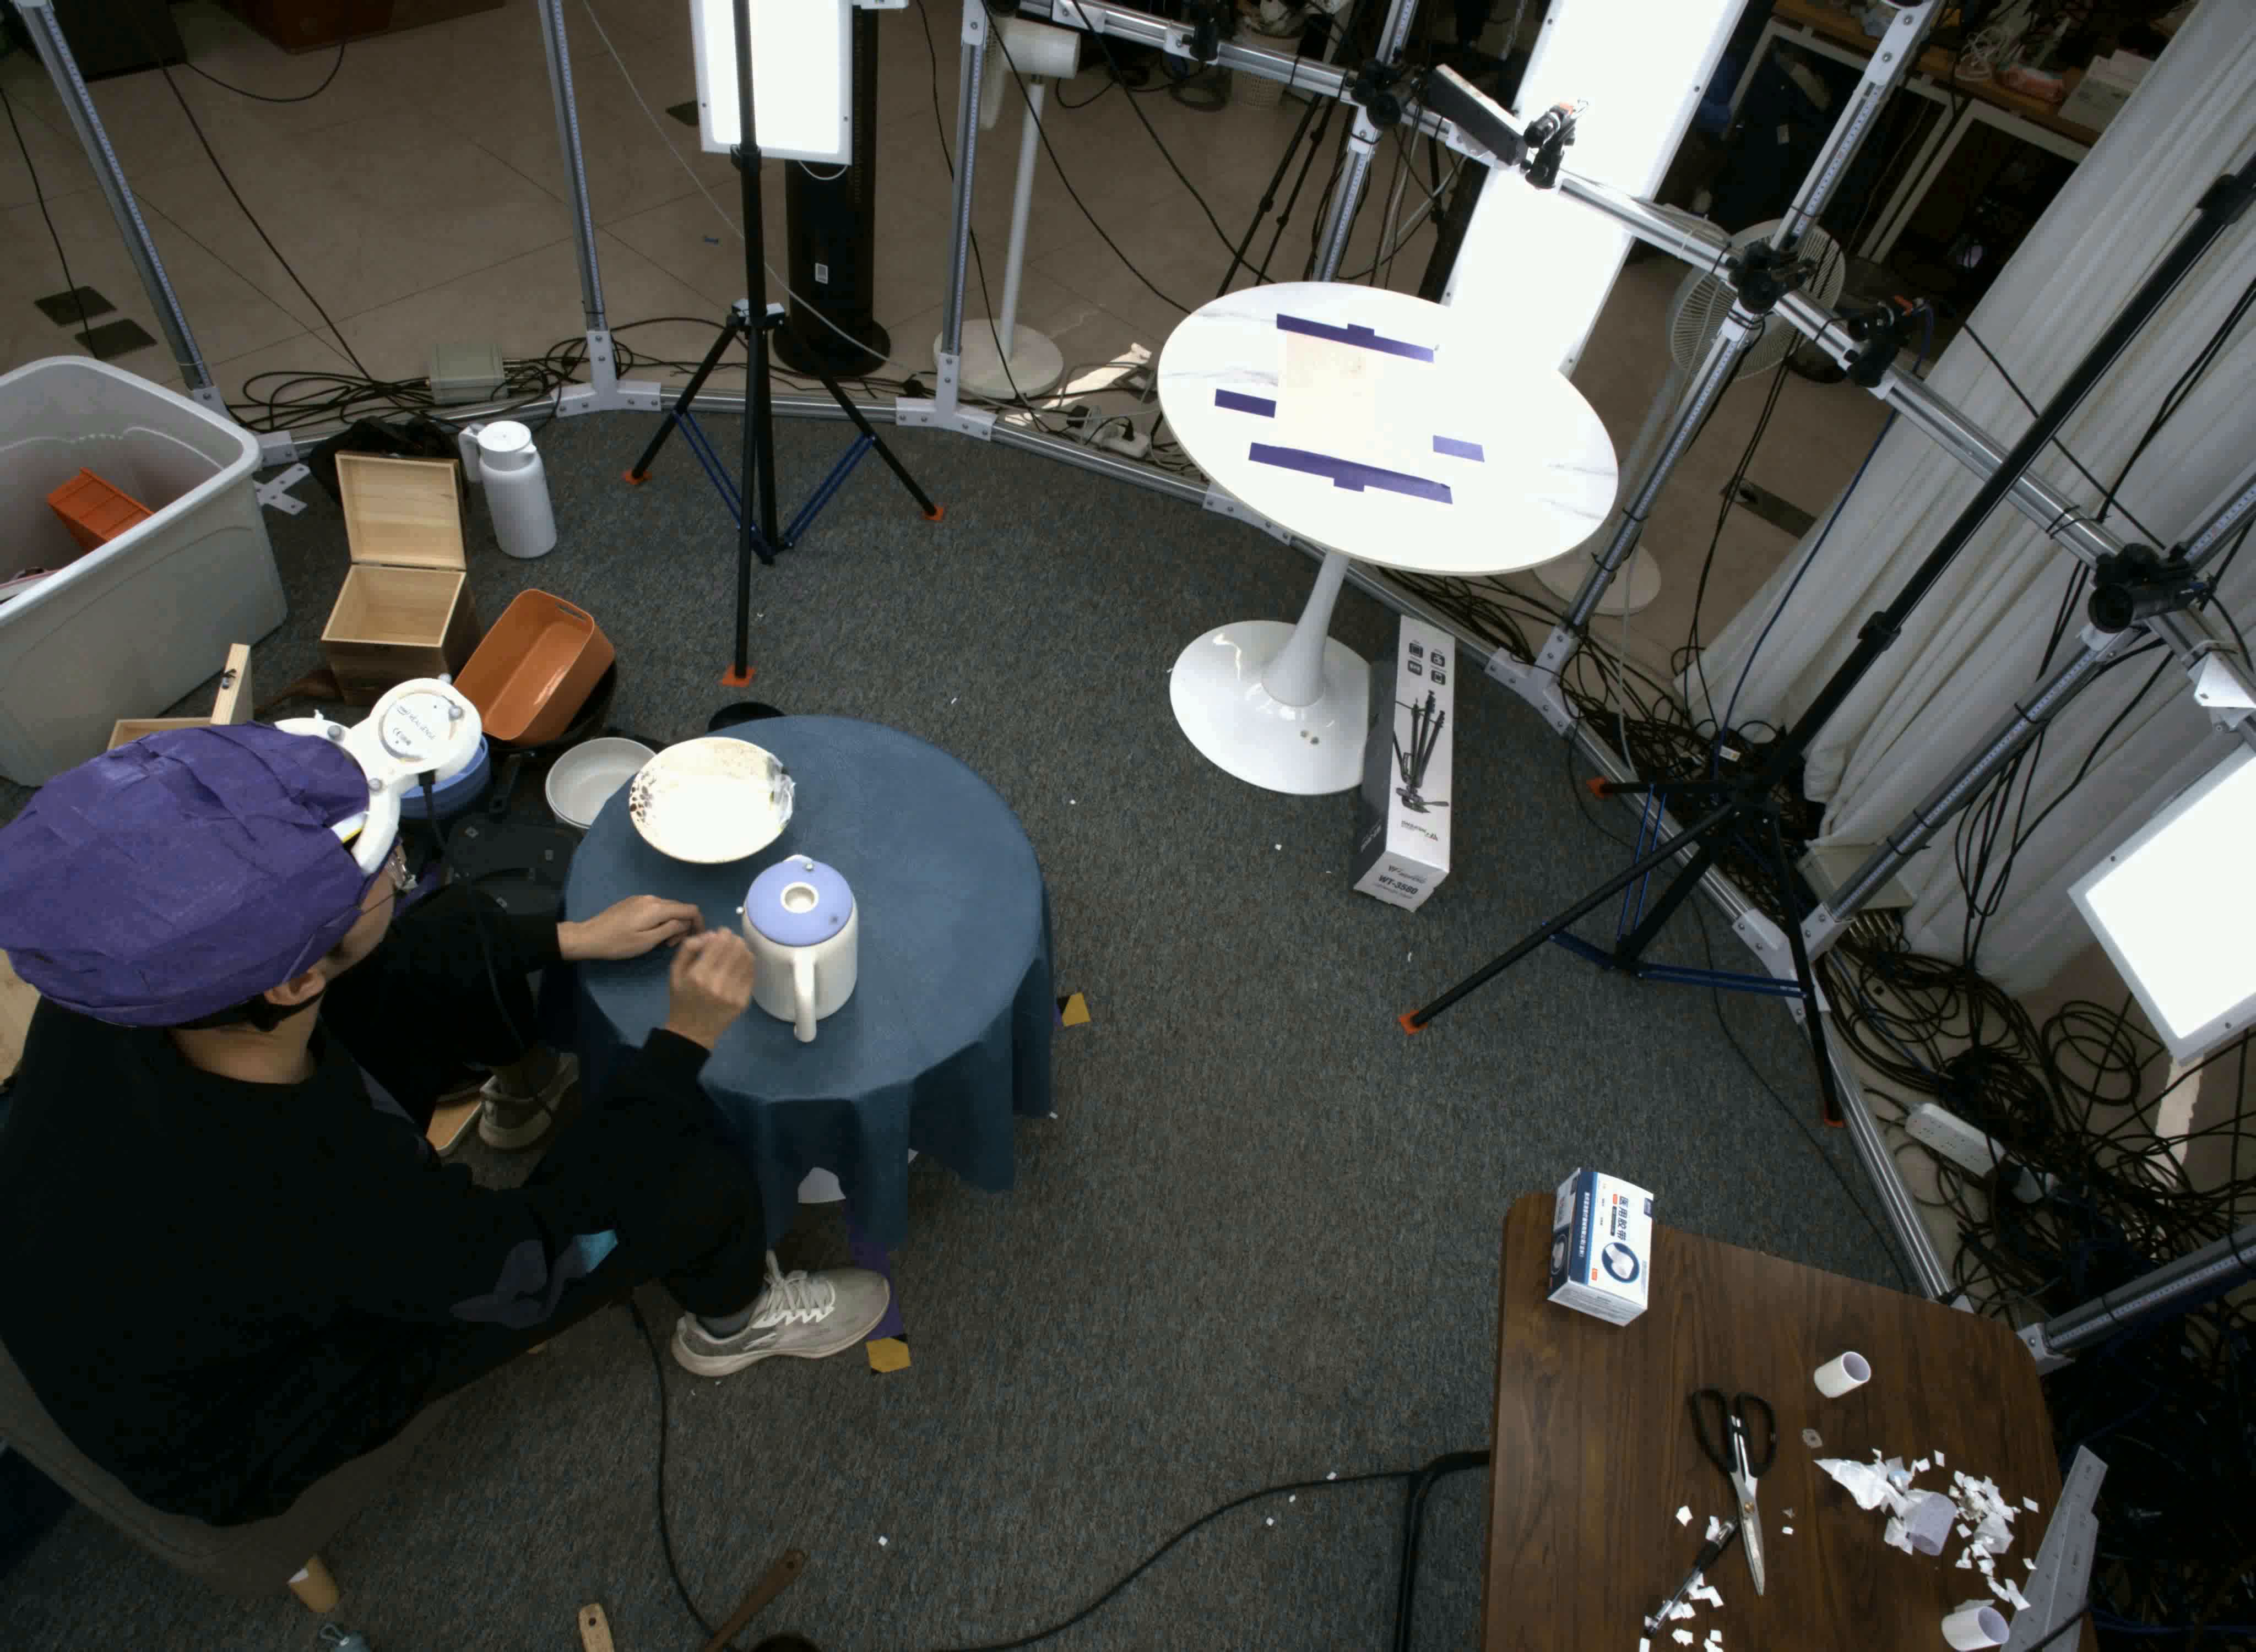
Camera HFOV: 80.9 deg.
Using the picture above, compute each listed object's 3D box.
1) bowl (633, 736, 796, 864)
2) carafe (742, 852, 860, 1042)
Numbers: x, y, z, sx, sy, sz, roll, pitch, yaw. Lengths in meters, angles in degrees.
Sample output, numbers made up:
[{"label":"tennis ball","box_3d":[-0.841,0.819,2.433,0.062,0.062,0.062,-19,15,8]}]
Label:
[{"label":"bowl","box_3d":[-0.530,-0.016,1.665,0.203,0.079,0.200,6,54,-7]},{"label":"carafe","box_3d":[-0.379,0.153,1.519,0.132,0.186,0.187,-6,57,-15]}]
